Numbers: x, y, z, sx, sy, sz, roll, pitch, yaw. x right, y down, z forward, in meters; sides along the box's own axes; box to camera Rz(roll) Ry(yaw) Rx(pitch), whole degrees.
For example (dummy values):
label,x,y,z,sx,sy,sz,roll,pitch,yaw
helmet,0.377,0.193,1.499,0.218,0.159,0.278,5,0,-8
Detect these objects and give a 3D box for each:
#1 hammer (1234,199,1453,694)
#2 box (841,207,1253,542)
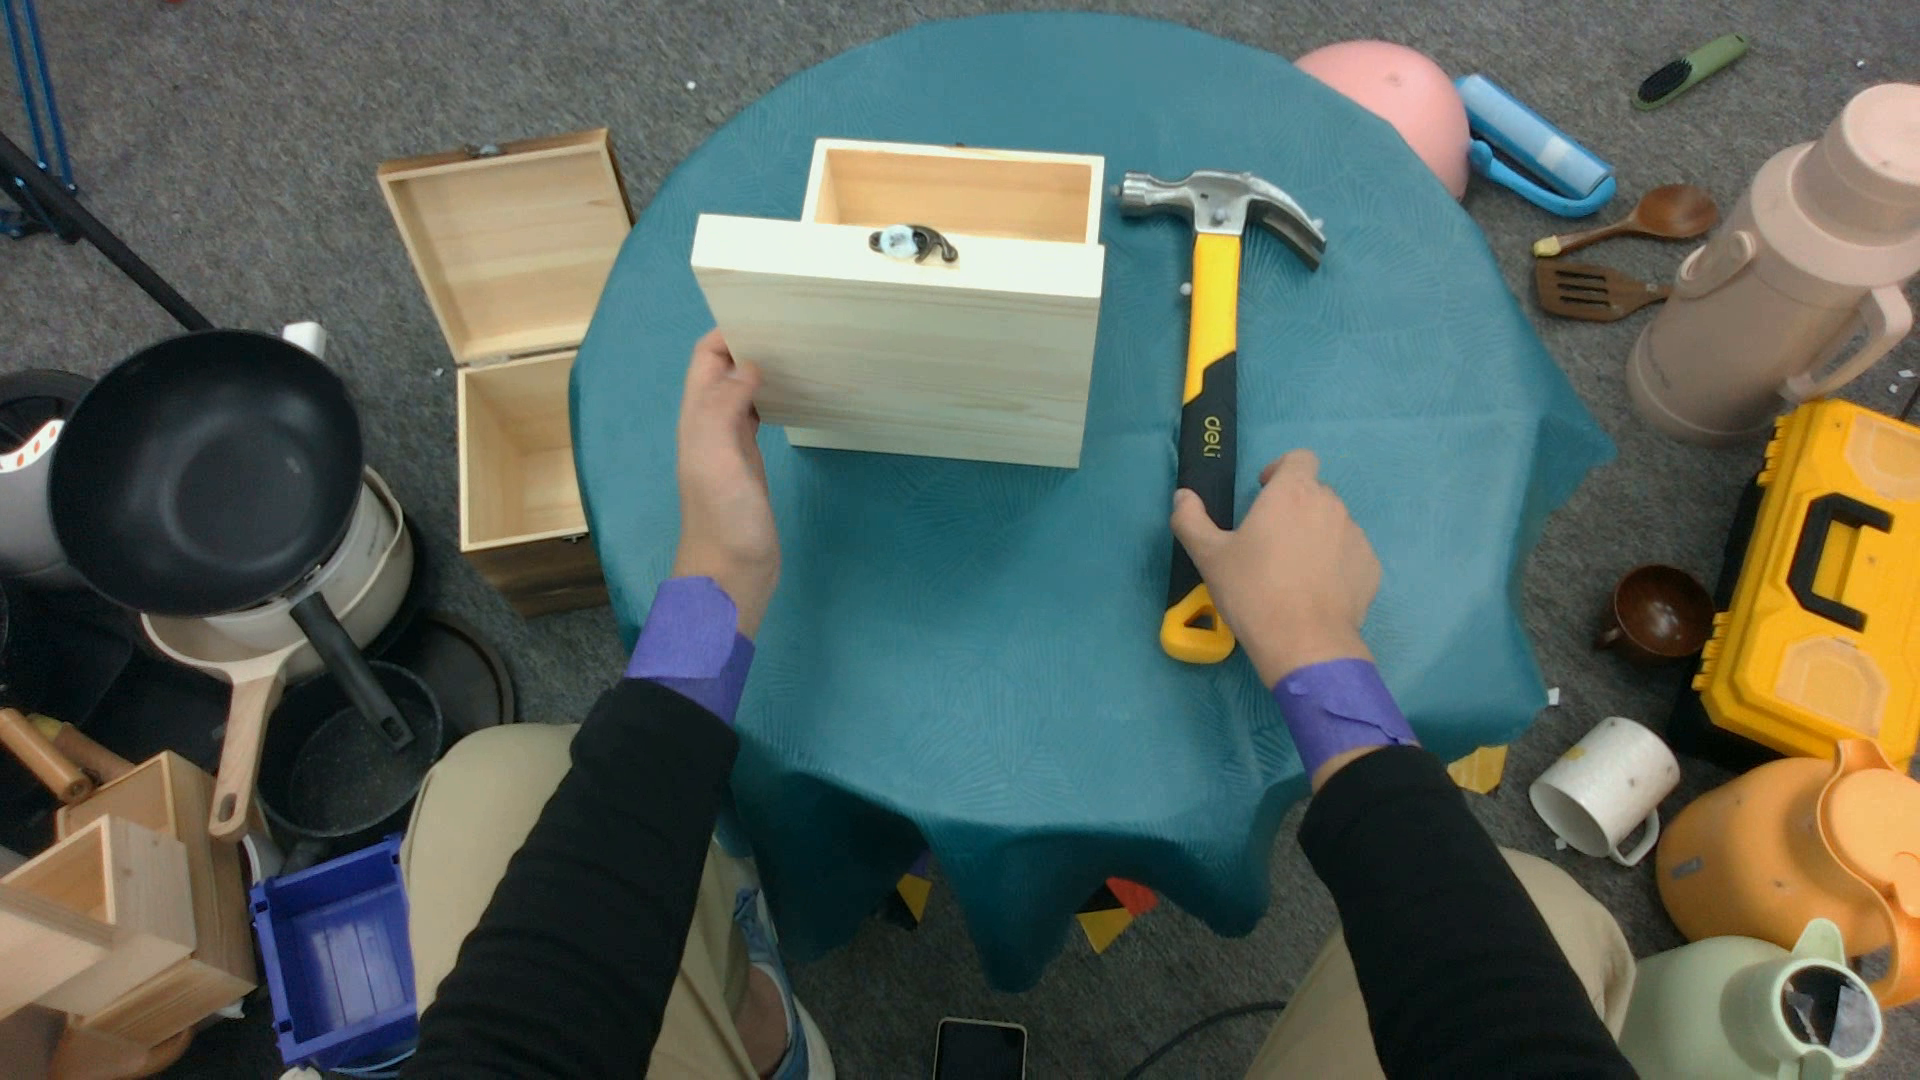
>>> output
label,x,y,z,sx,sy,sz,roll,pitch,yaw
hammer,0.240,-0.068,0.819,0.131,0.032,0.340,-4,60,11
box,0.057,-0.110,0.762,0.181,0.252,0.266,-5,61,9
